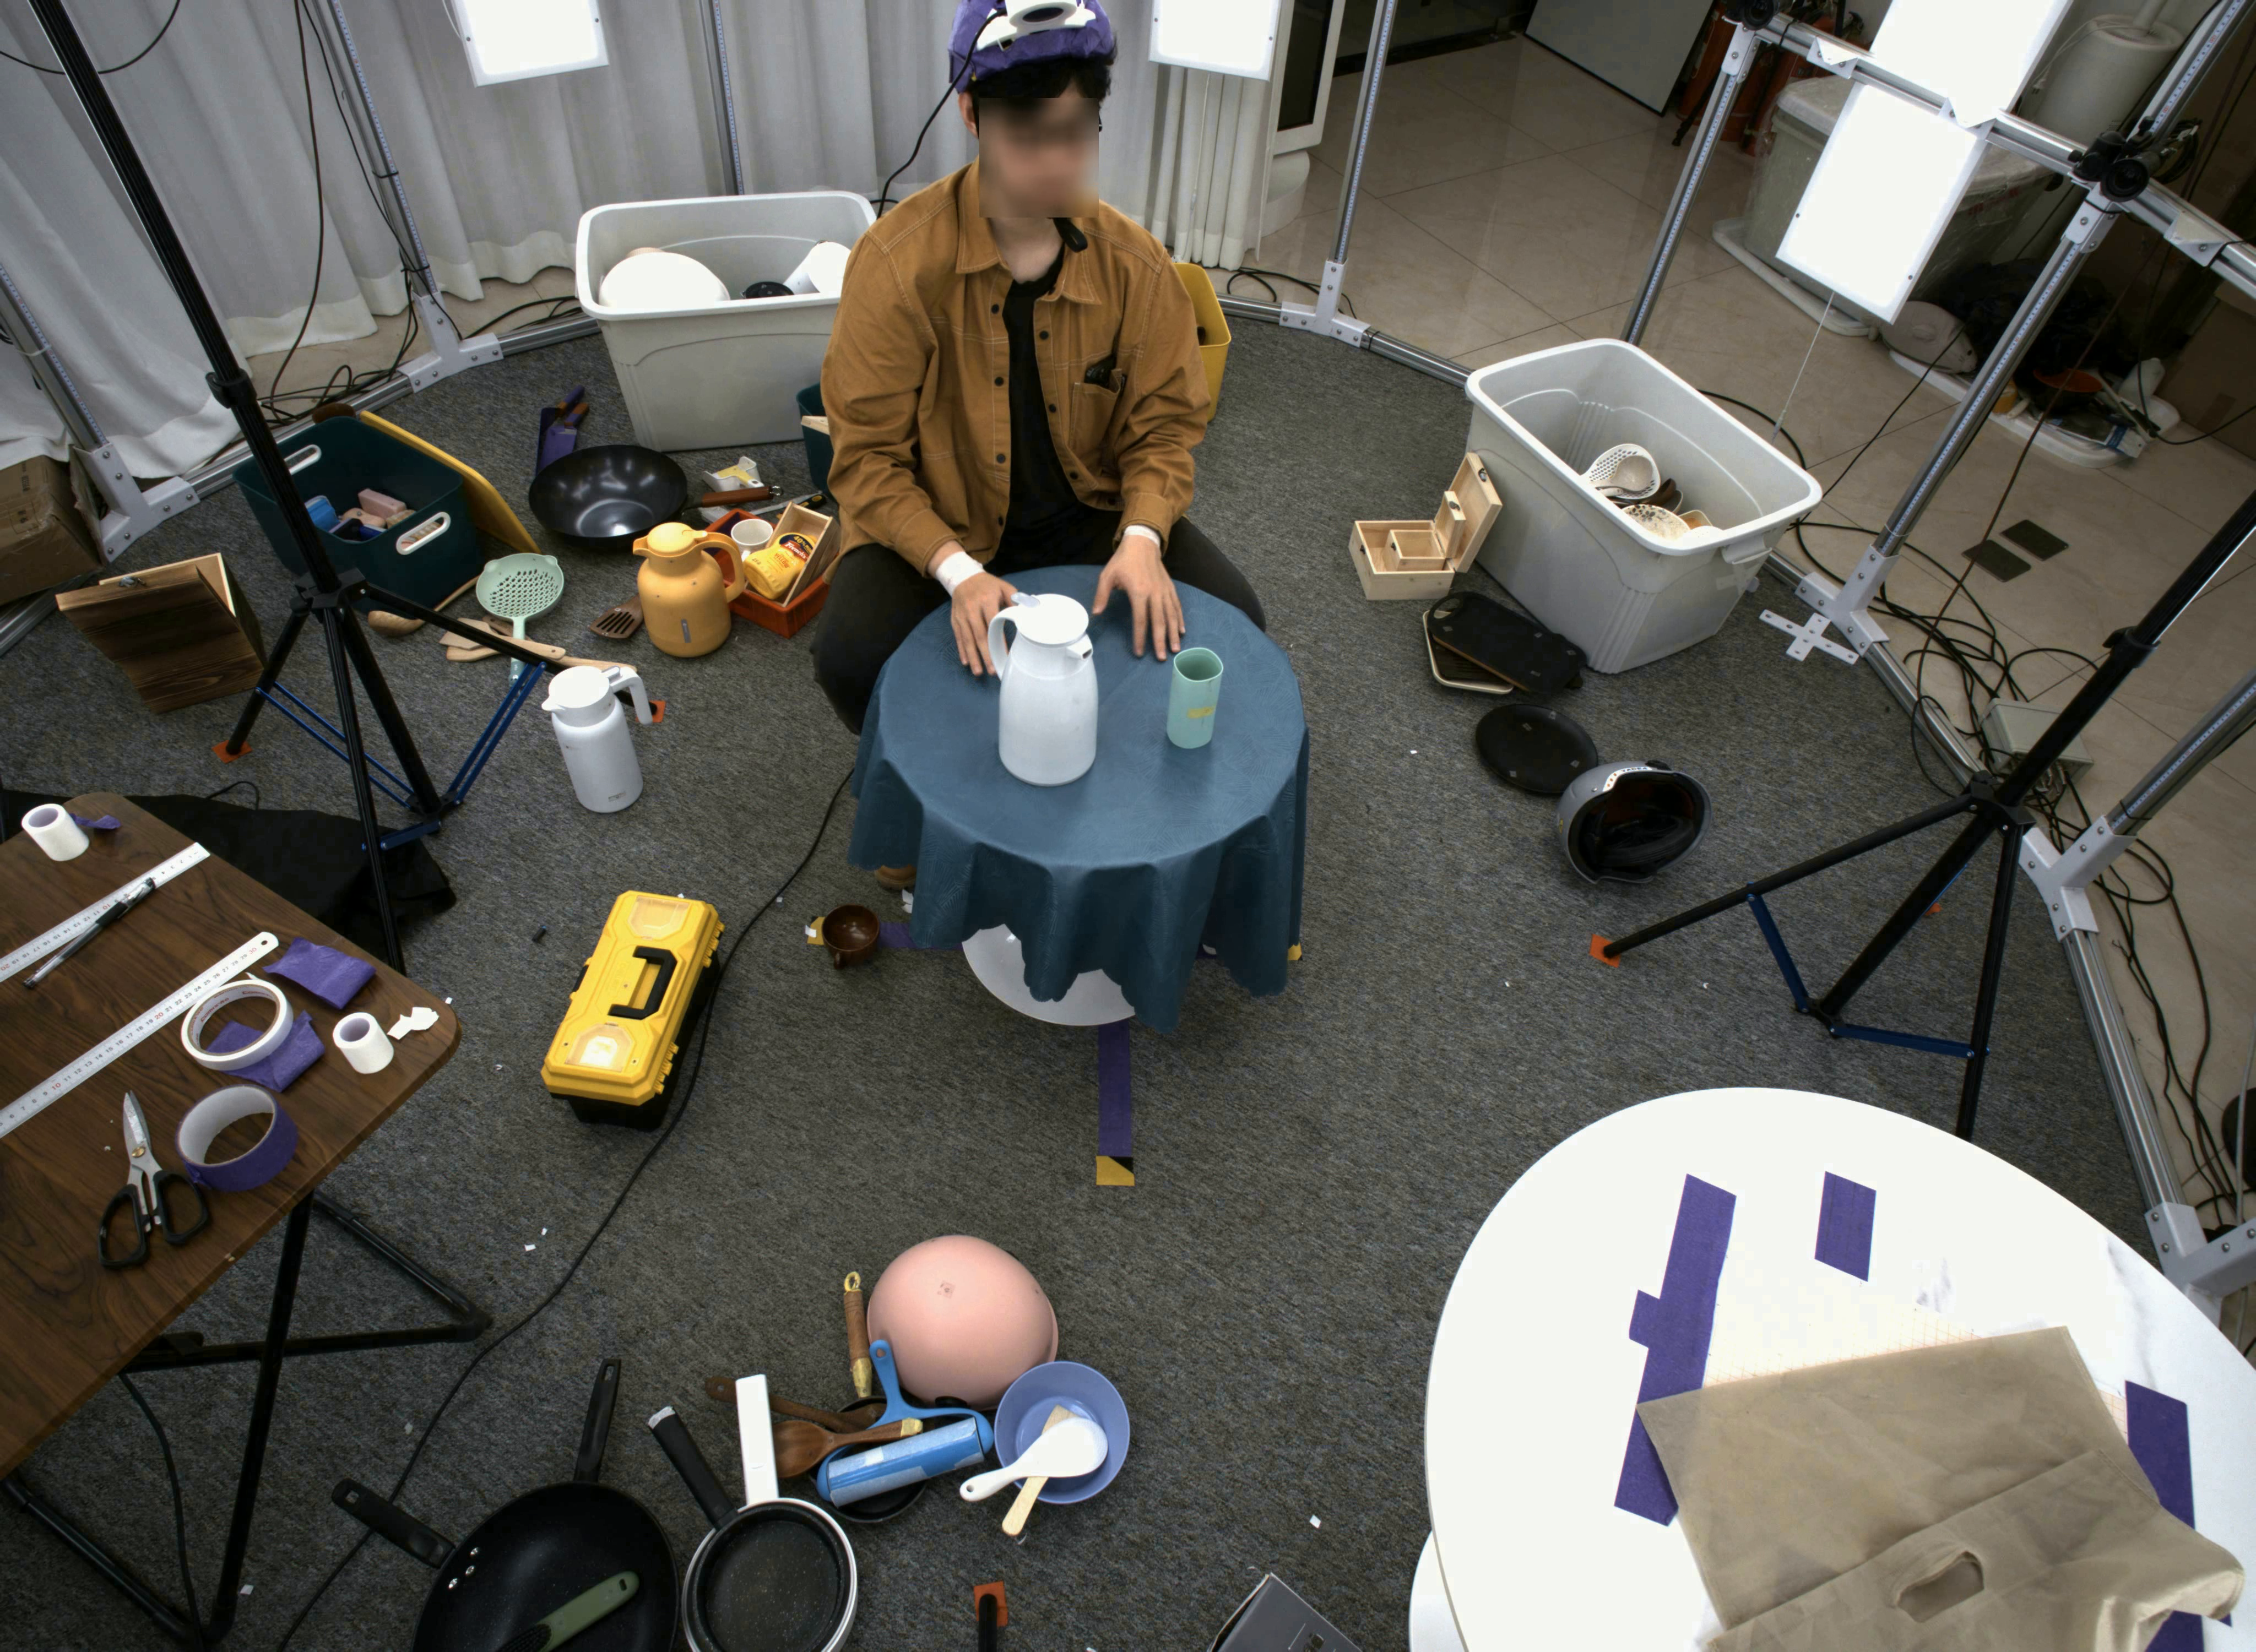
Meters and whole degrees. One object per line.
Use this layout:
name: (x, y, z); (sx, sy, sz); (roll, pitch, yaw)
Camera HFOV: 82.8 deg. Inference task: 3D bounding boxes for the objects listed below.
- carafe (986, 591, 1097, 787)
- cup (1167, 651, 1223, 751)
carafe: (-0.118, -0.190, 1.667); (0.170, 0.242, 0.134); (35, 56, 24)
cup: (0.089, -0.170, 1.742); (0.066, 0.129, 0.068); (2, 50, -3)
